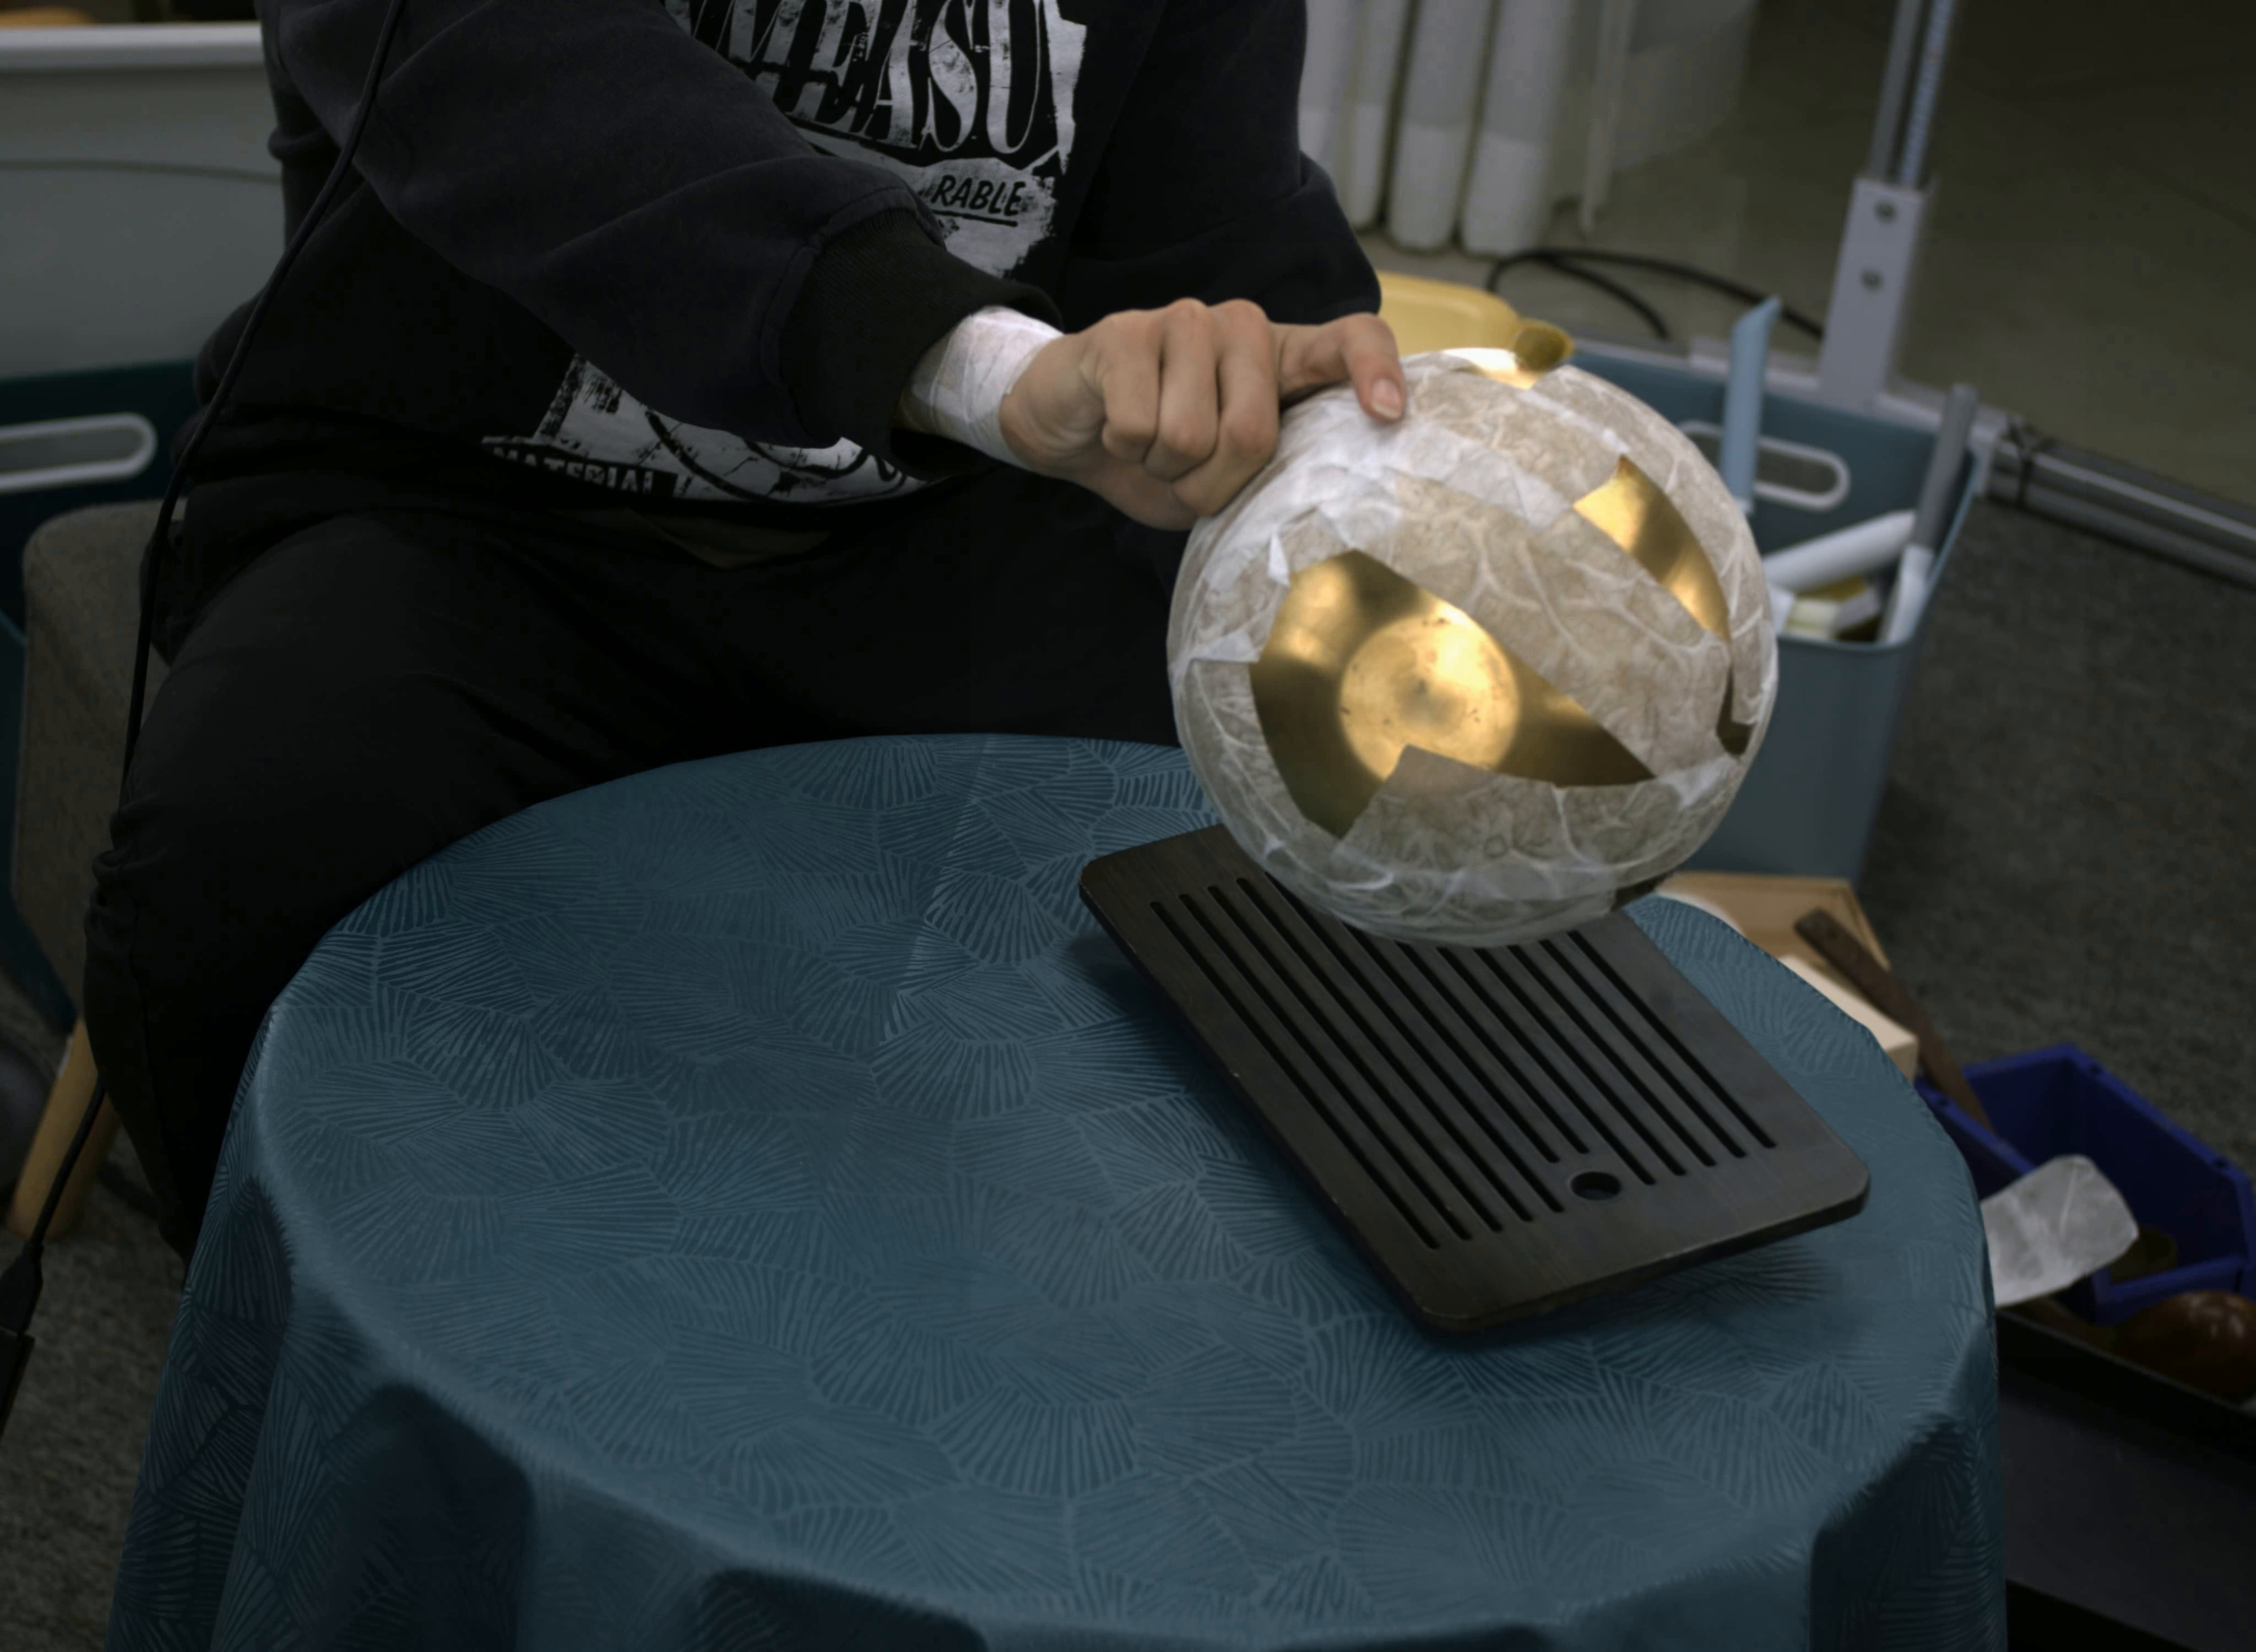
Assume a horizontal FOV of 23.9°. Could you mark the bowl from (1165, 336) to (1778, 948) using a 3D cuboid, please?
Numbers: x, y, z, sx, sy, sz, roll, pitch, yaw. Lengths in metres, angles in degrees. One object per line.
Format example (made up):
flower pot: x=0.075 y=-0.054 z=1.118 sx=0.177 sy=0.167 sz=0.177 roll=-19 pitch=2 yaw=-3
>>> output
bowl: x=0.101 y=-0.047 z=1.715 sx=0.215 sy=0.214 sz=0.094 roll=12 pitch=17 yaw=11

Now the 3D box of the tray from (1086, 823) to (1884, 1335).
tray: x=0.119 y=0.075 z=1.866 sx=0.169 sy=0.018 sz=0.309 roll=-15 pitch=34 yaw=-19
